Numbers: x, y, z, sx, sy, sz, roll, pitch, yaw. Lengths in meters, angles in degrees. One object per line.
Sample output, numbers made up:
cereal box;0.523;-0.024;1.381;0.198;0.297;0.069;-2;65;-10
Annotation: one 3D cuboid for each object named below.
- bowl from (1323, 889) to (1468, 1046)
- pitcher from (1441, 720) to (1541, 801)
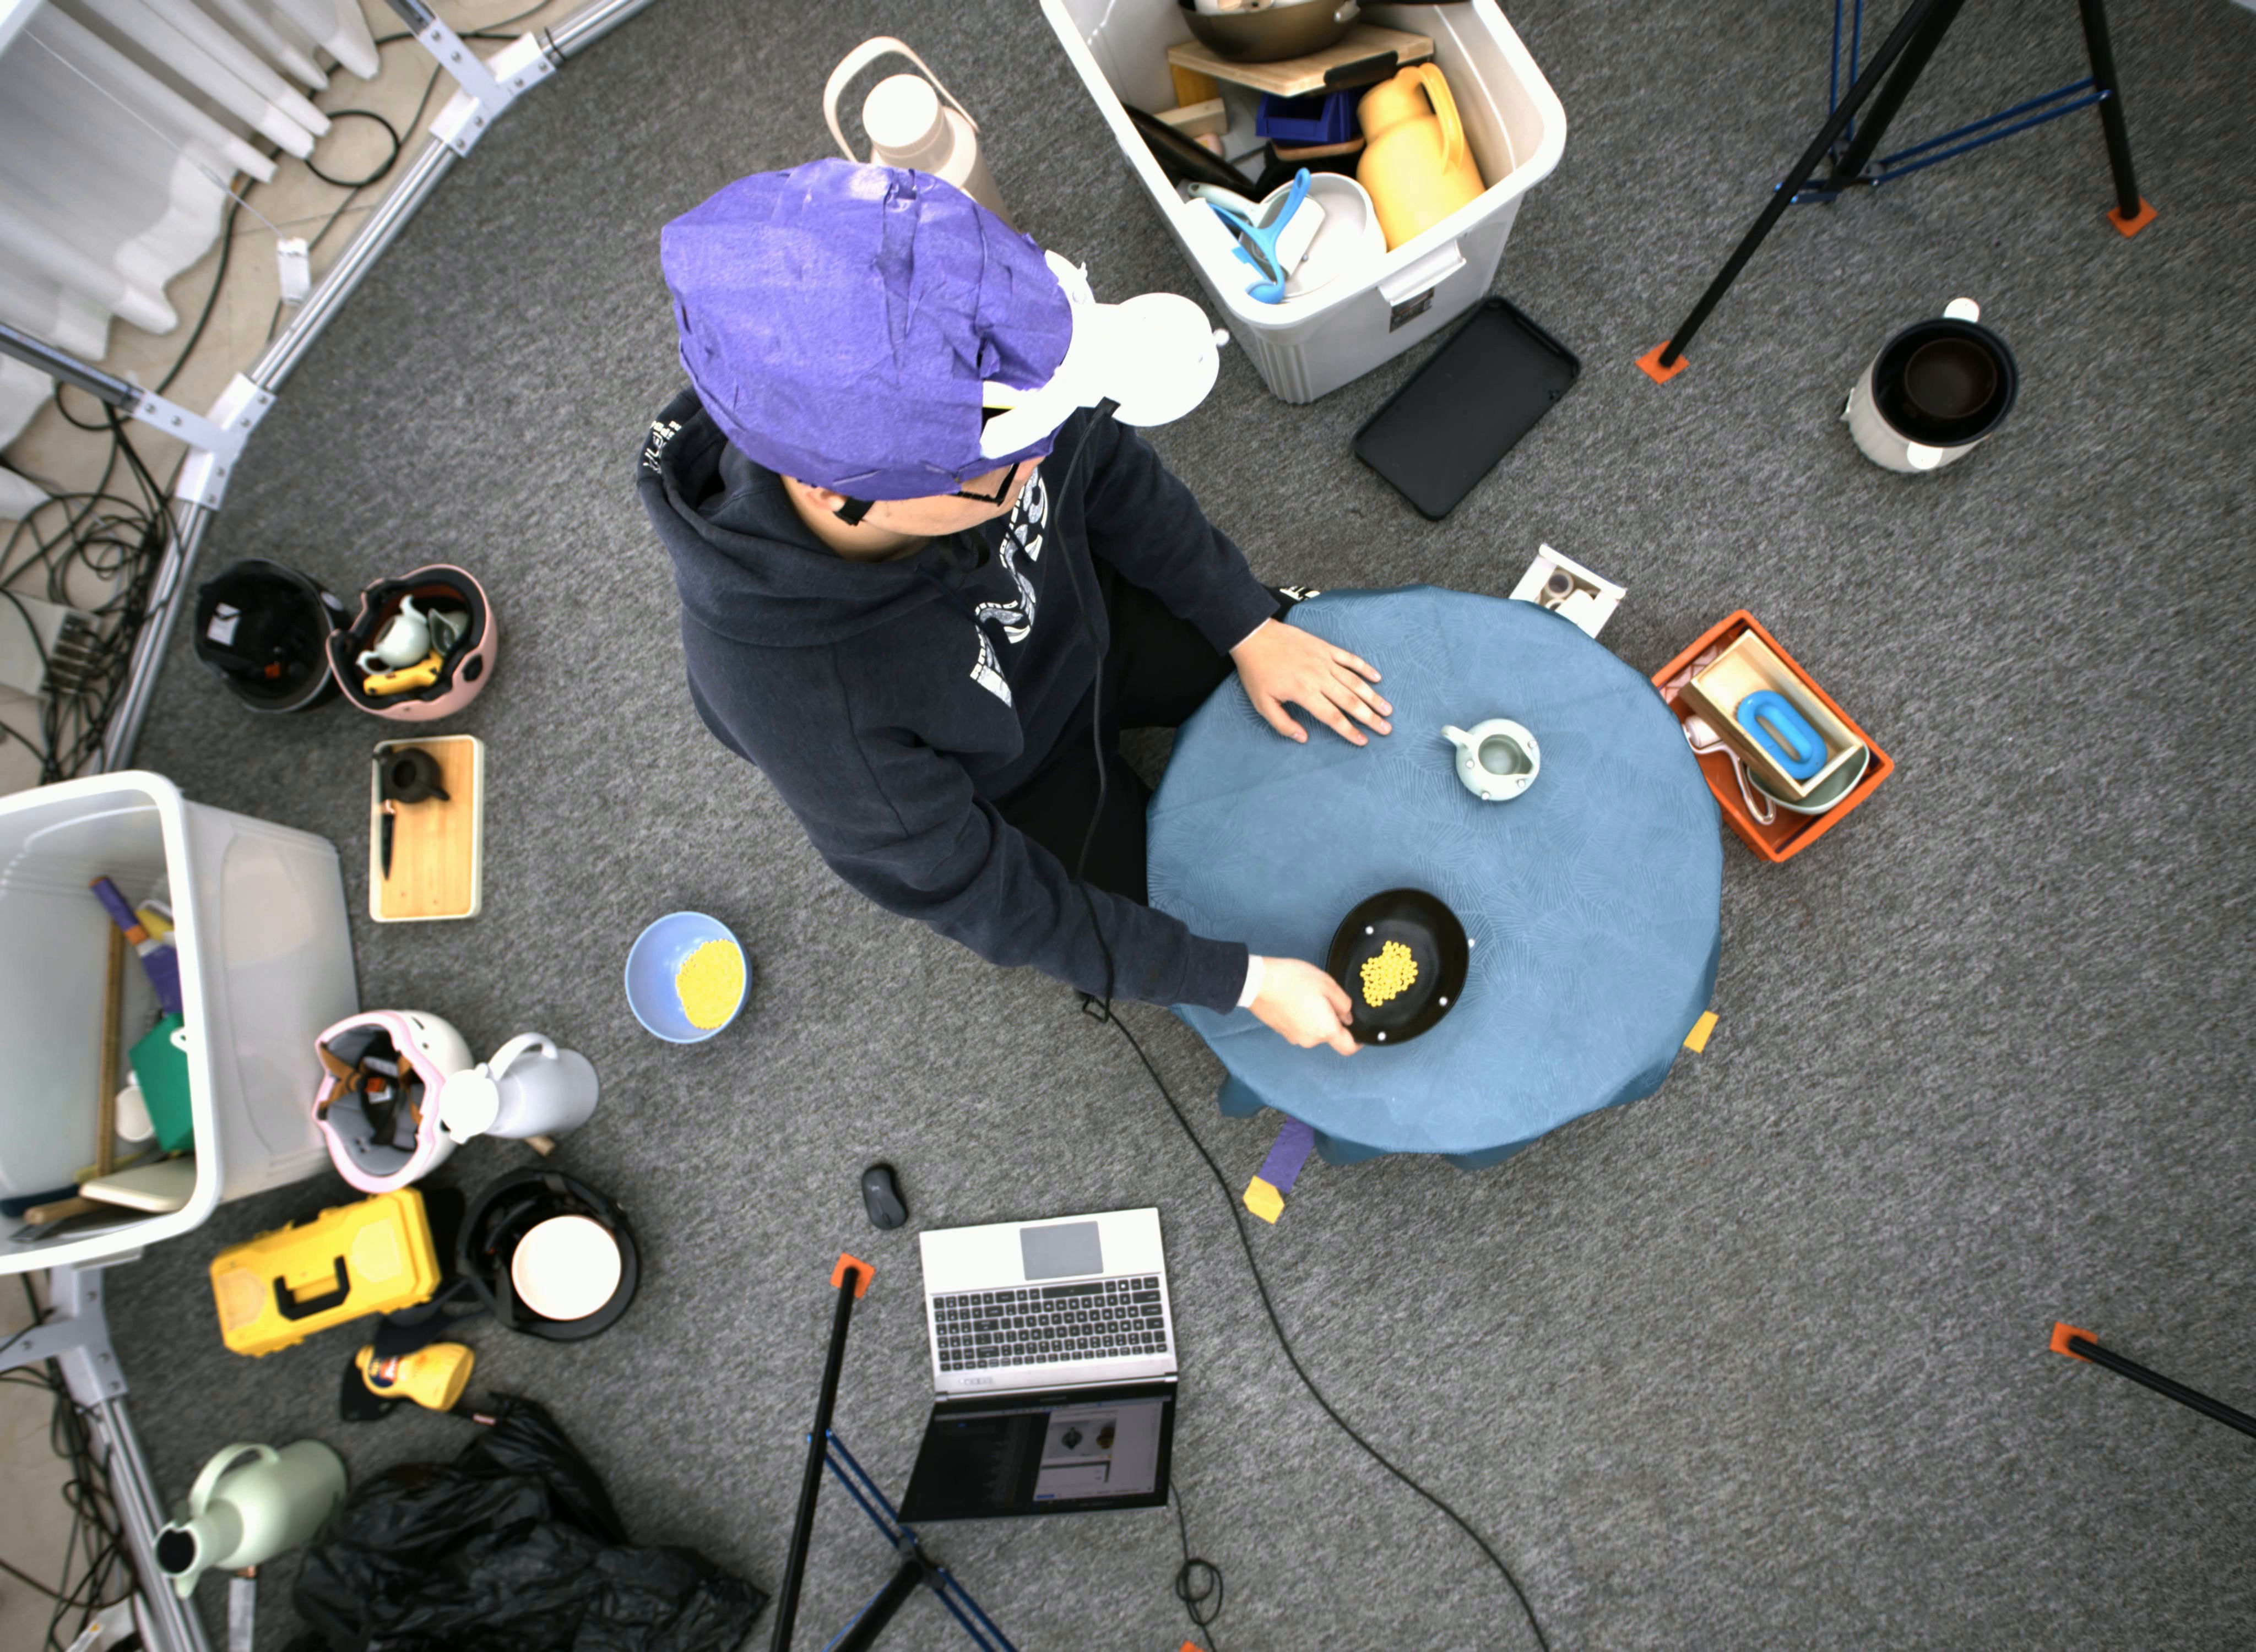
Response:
bowl;0.272;0.148;1.418;0.137;0.067;0.169;28;83;12
pitcher;0.375;-0.076;1.422;0.108;0.060;0.086;25;90;14
